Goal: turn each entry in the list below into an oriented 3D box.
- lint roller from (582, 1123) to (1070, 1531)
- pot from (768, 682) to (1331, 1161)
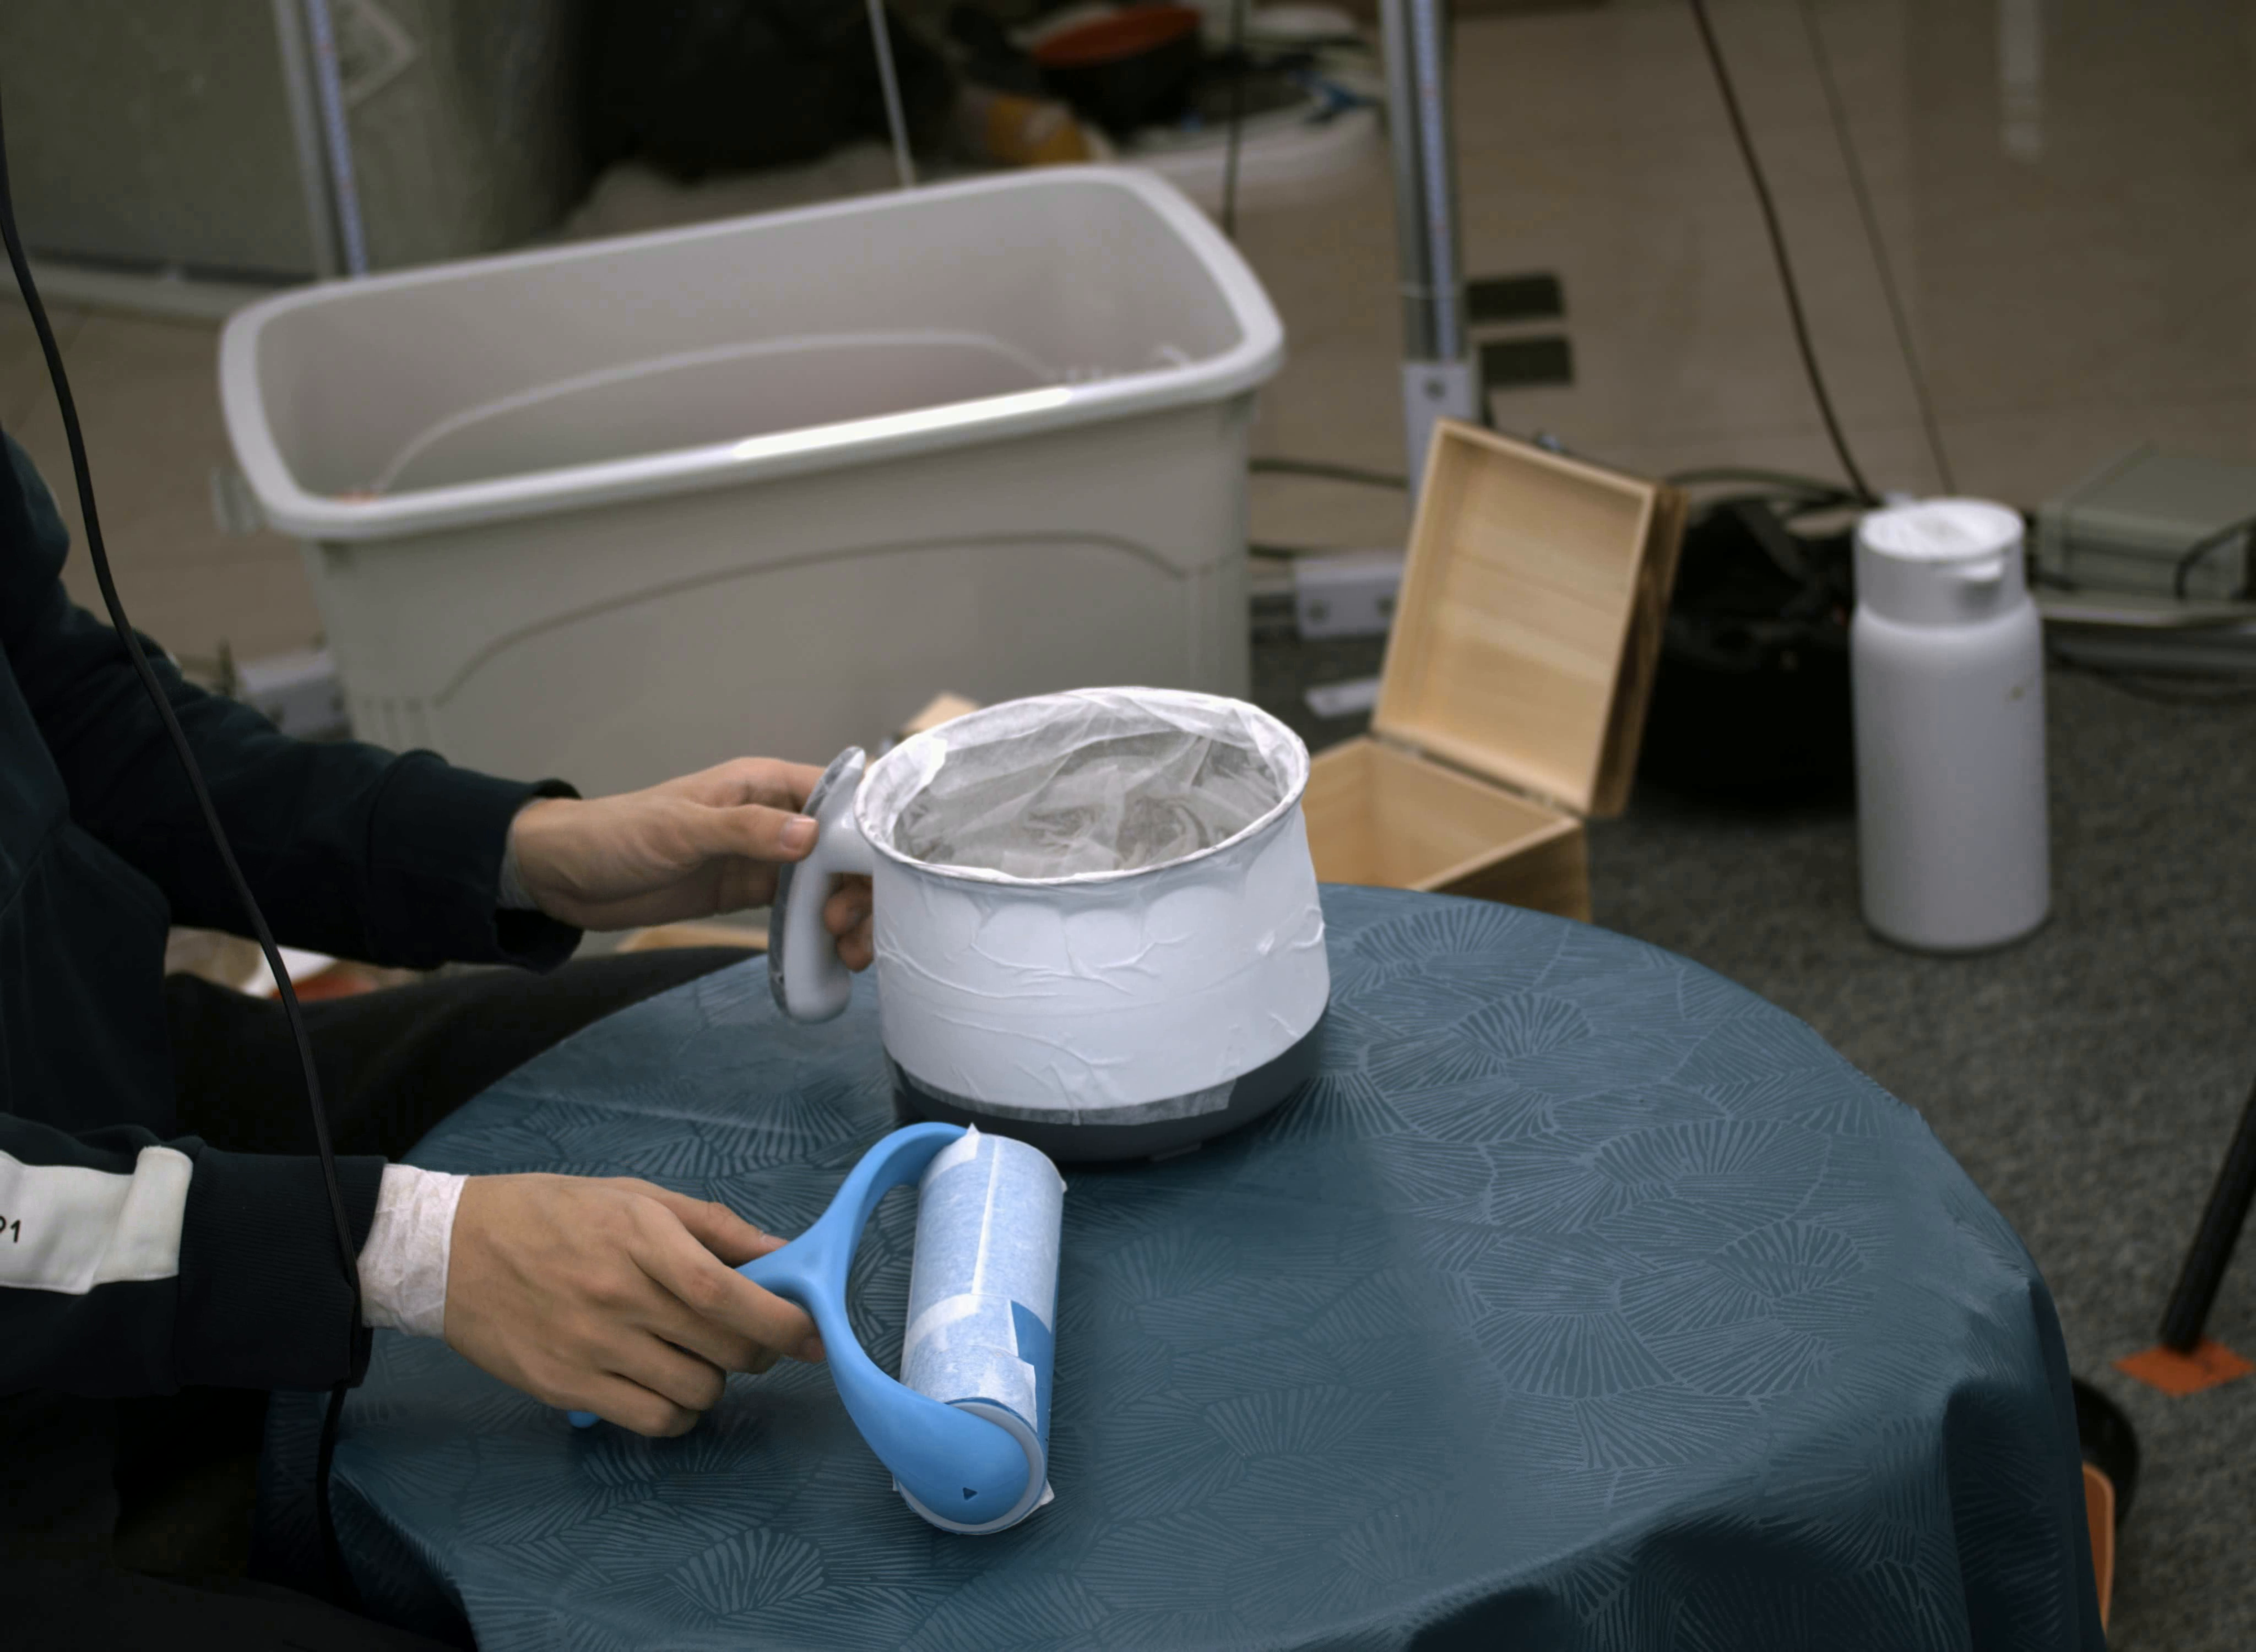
[{"bbox_3d":[-0.108,0.182,2.012,0.180,0.069,0.225,-6,27,-1],"label":"lint roller"},{"bbox_3d":[-0.037,0.036,2.204,0.233,0.139,0.176,7,28,23],"label":"pot"}]
